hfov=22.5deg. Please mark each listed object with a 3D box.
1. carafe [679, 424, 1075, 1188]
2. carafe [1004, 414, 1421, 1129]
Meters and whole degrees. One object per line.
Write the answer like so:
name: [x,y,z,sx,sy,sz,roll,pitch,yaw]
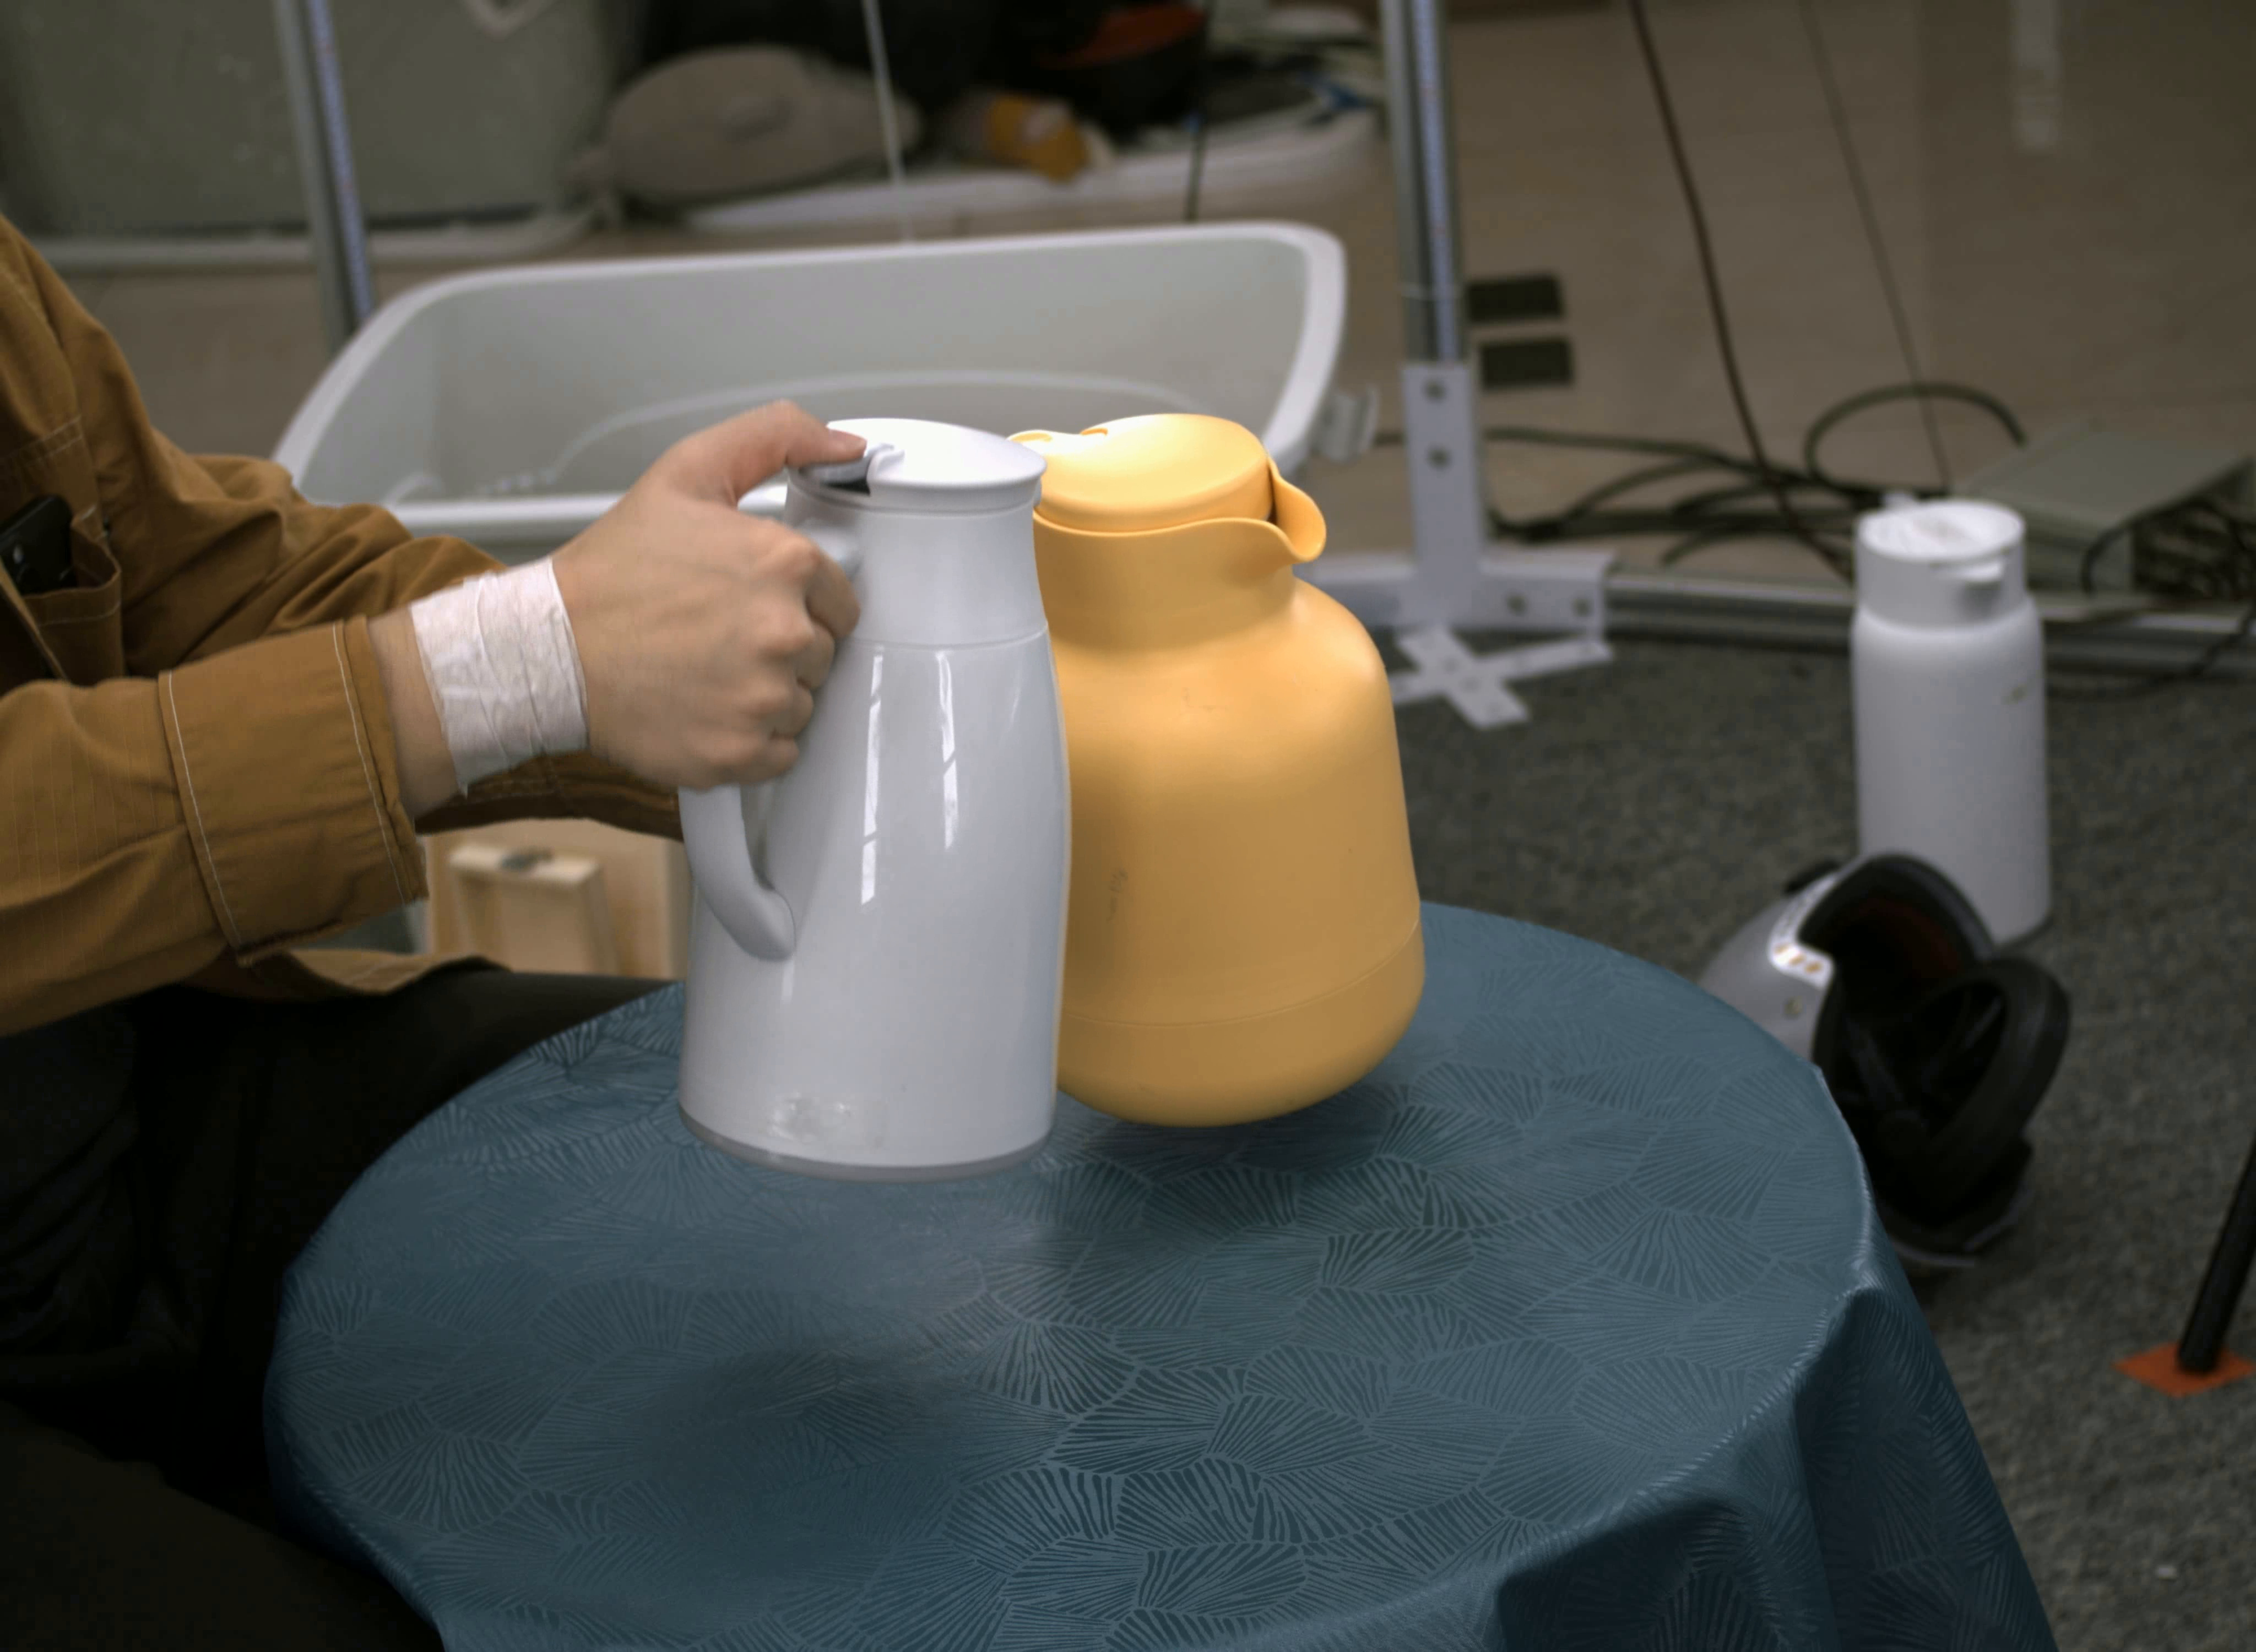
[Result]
carafe: [-0.092,-0.009,1.933,0.131,0.252,0.166,16,22,33]
carafe: [0.009,-0.030,2.158,0.201,0.265,0.162,17,35,37]
